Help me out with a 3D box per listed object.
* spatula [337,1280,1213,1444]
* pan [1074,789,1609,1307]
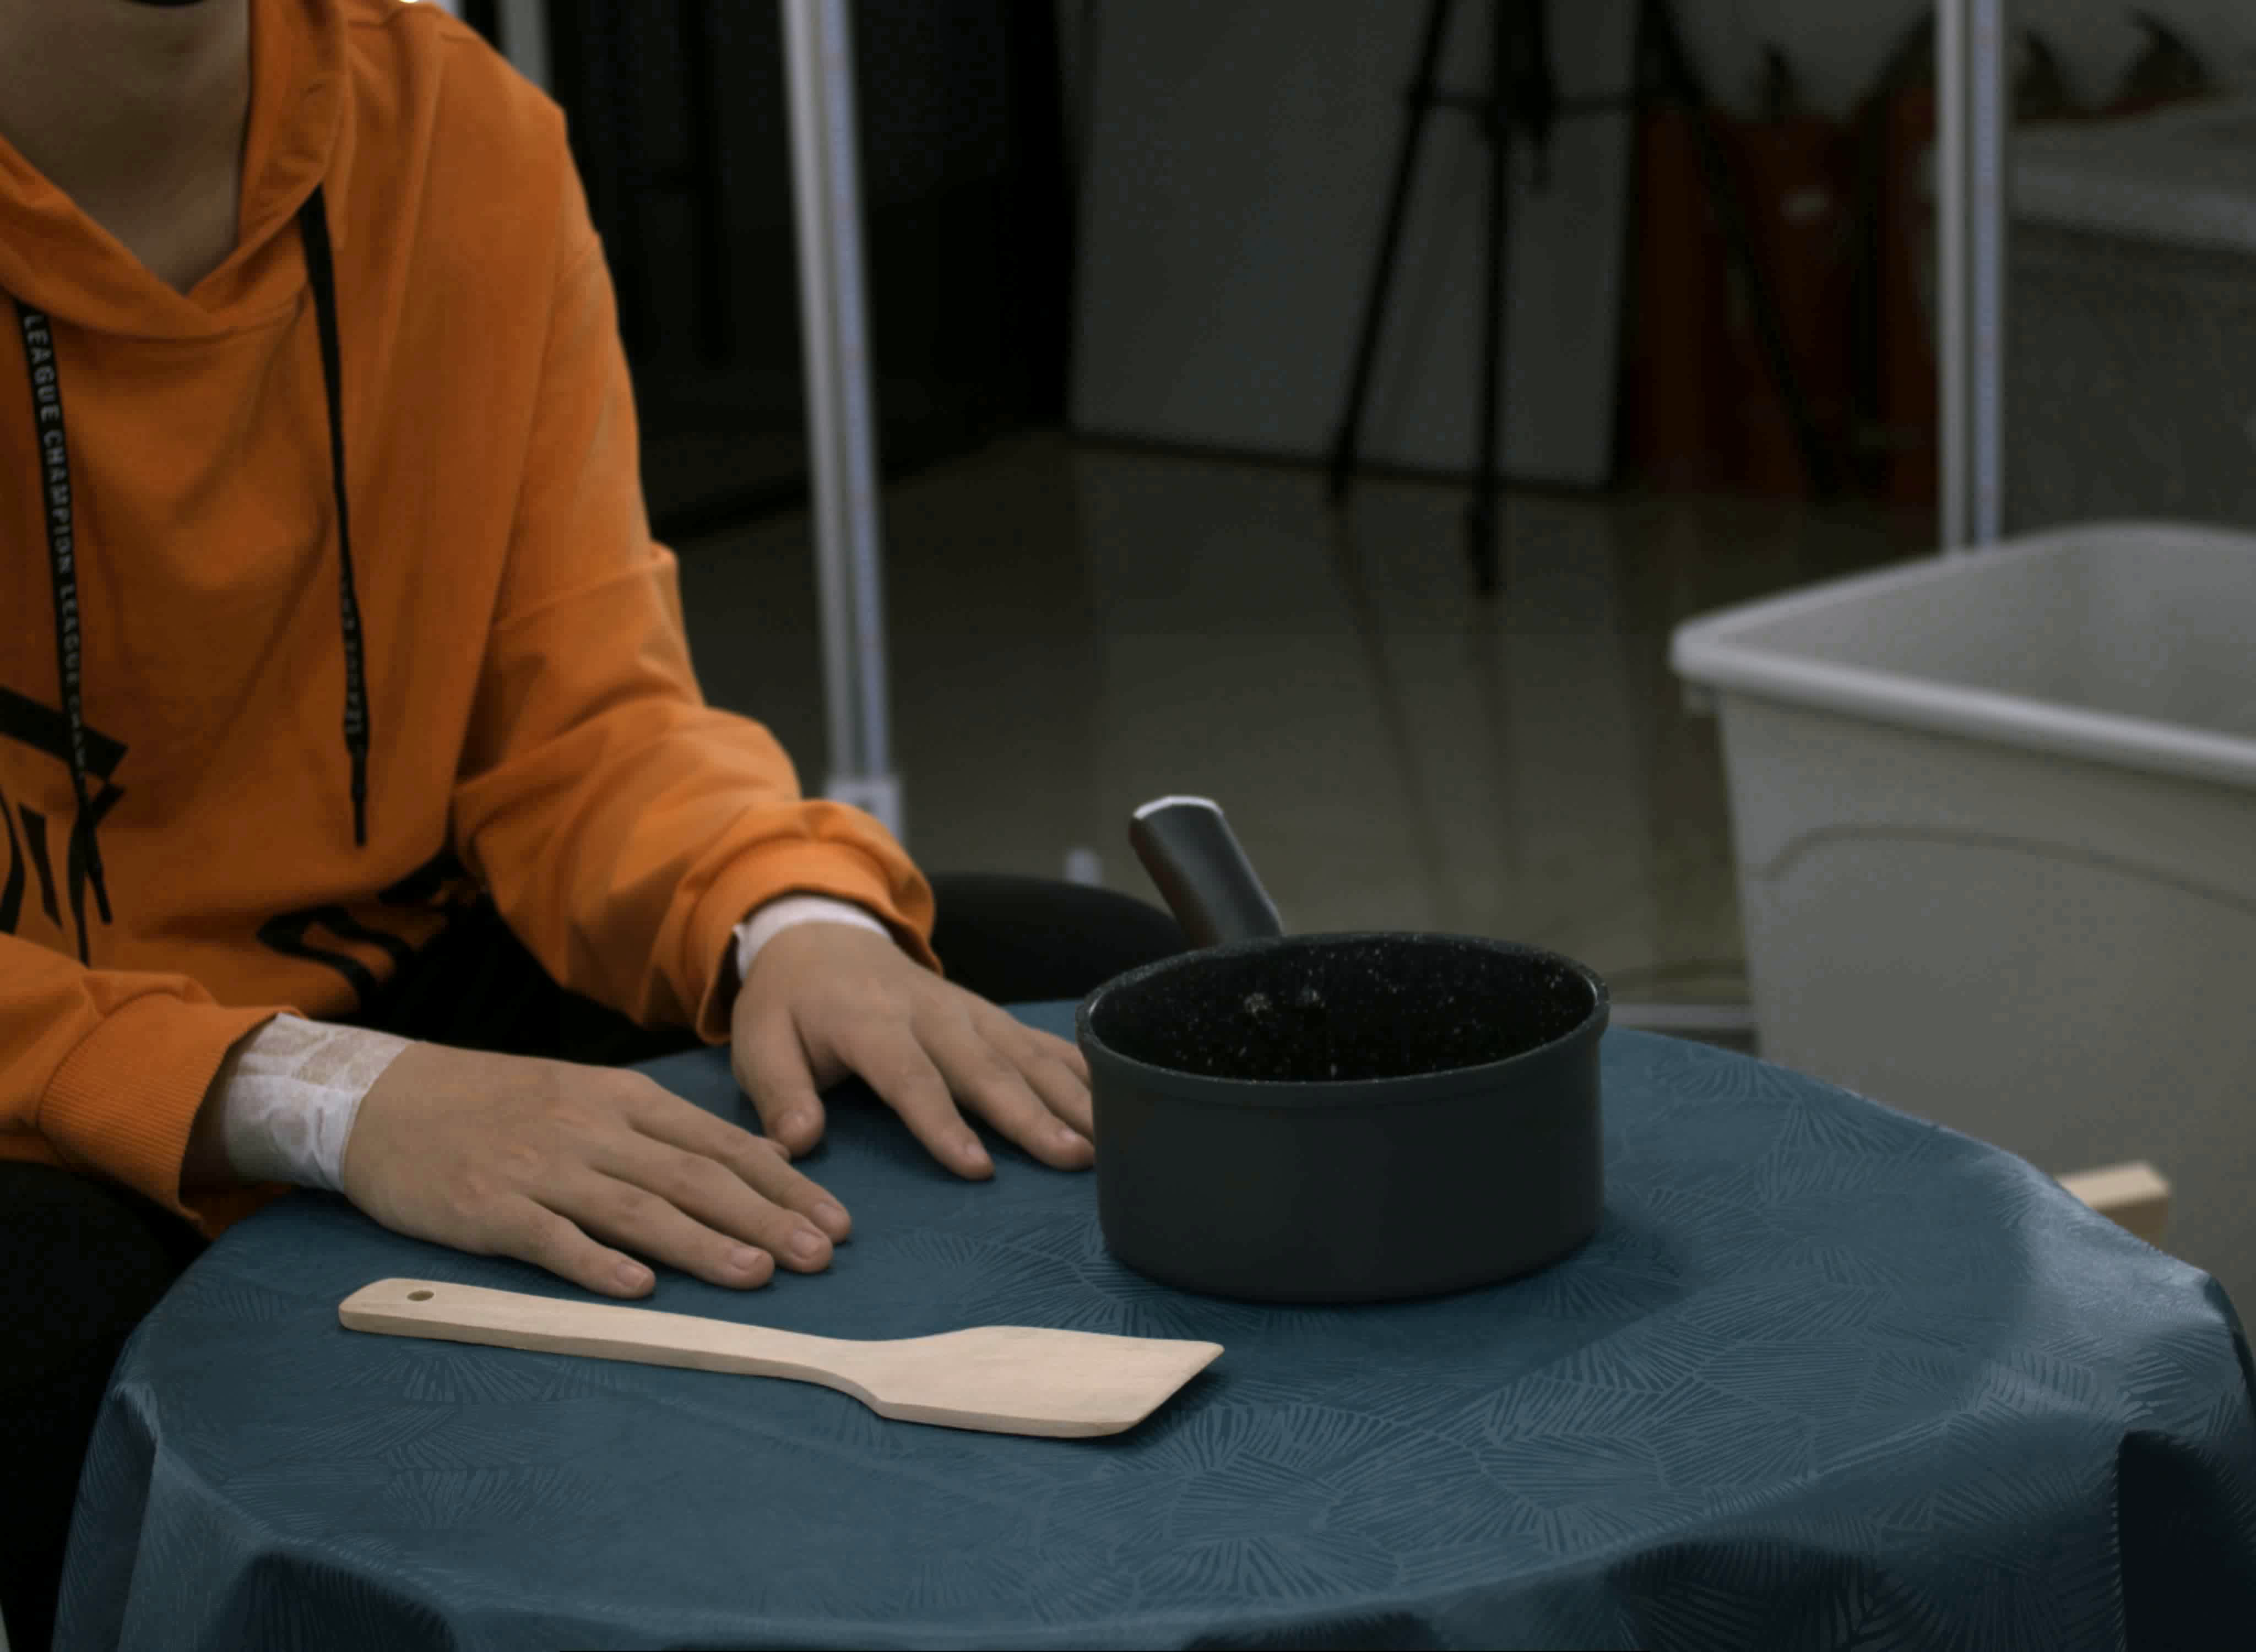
[{"bbox_3d":[-0.116,0.159,1.634,0.294,0.011,0.071,3,19,28],"label":"spatula"},{"bbox_3d":[0.056,0.070,1.785,0.169,0.087,0.330,-5,15,-8],"label":"pan"}]
